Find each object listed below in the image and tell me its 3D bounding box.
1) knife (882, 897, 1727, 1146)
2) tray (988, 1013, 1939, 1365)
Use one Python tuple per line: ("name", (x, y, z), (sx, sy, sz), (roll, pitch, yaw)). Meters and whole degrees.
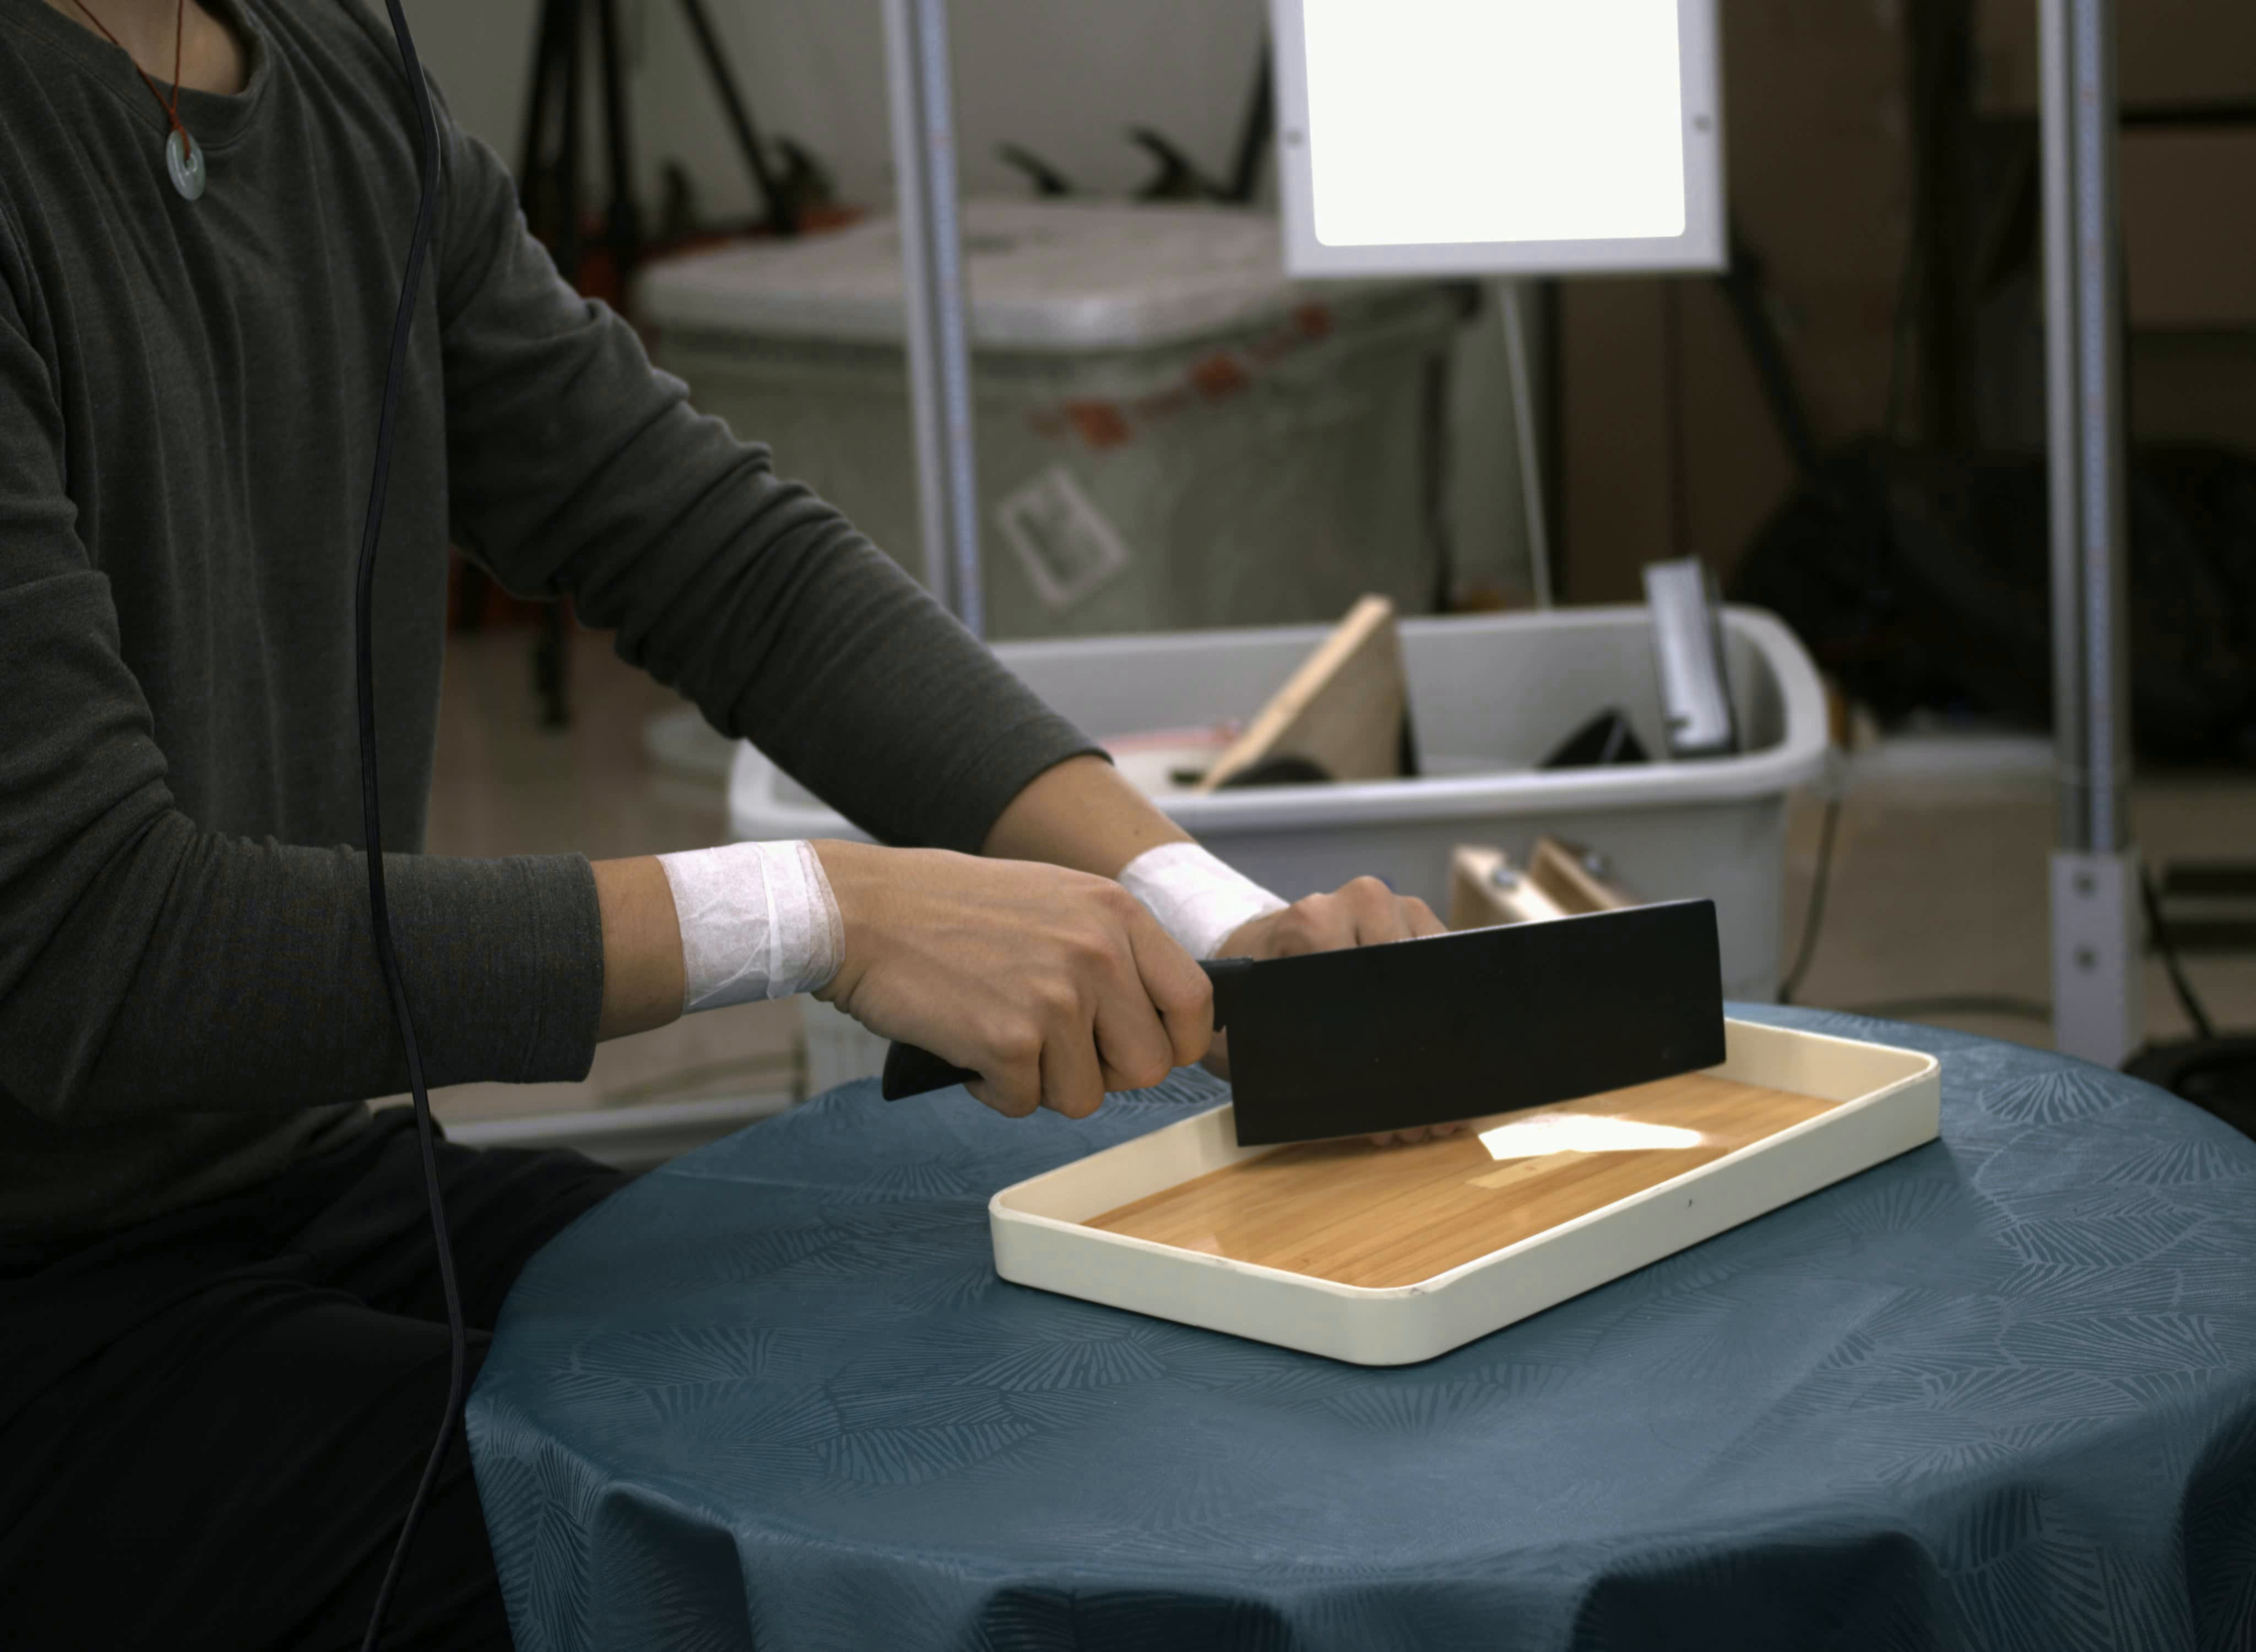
("knife", (0.064, 0.071, 1.886), (0.298, 0.081, 0.021), (-3, 9, -11))
("tray", (0.118, 0.114, 1.854), (0.292, 0.027, 0.196), (-18, 18, -42))
